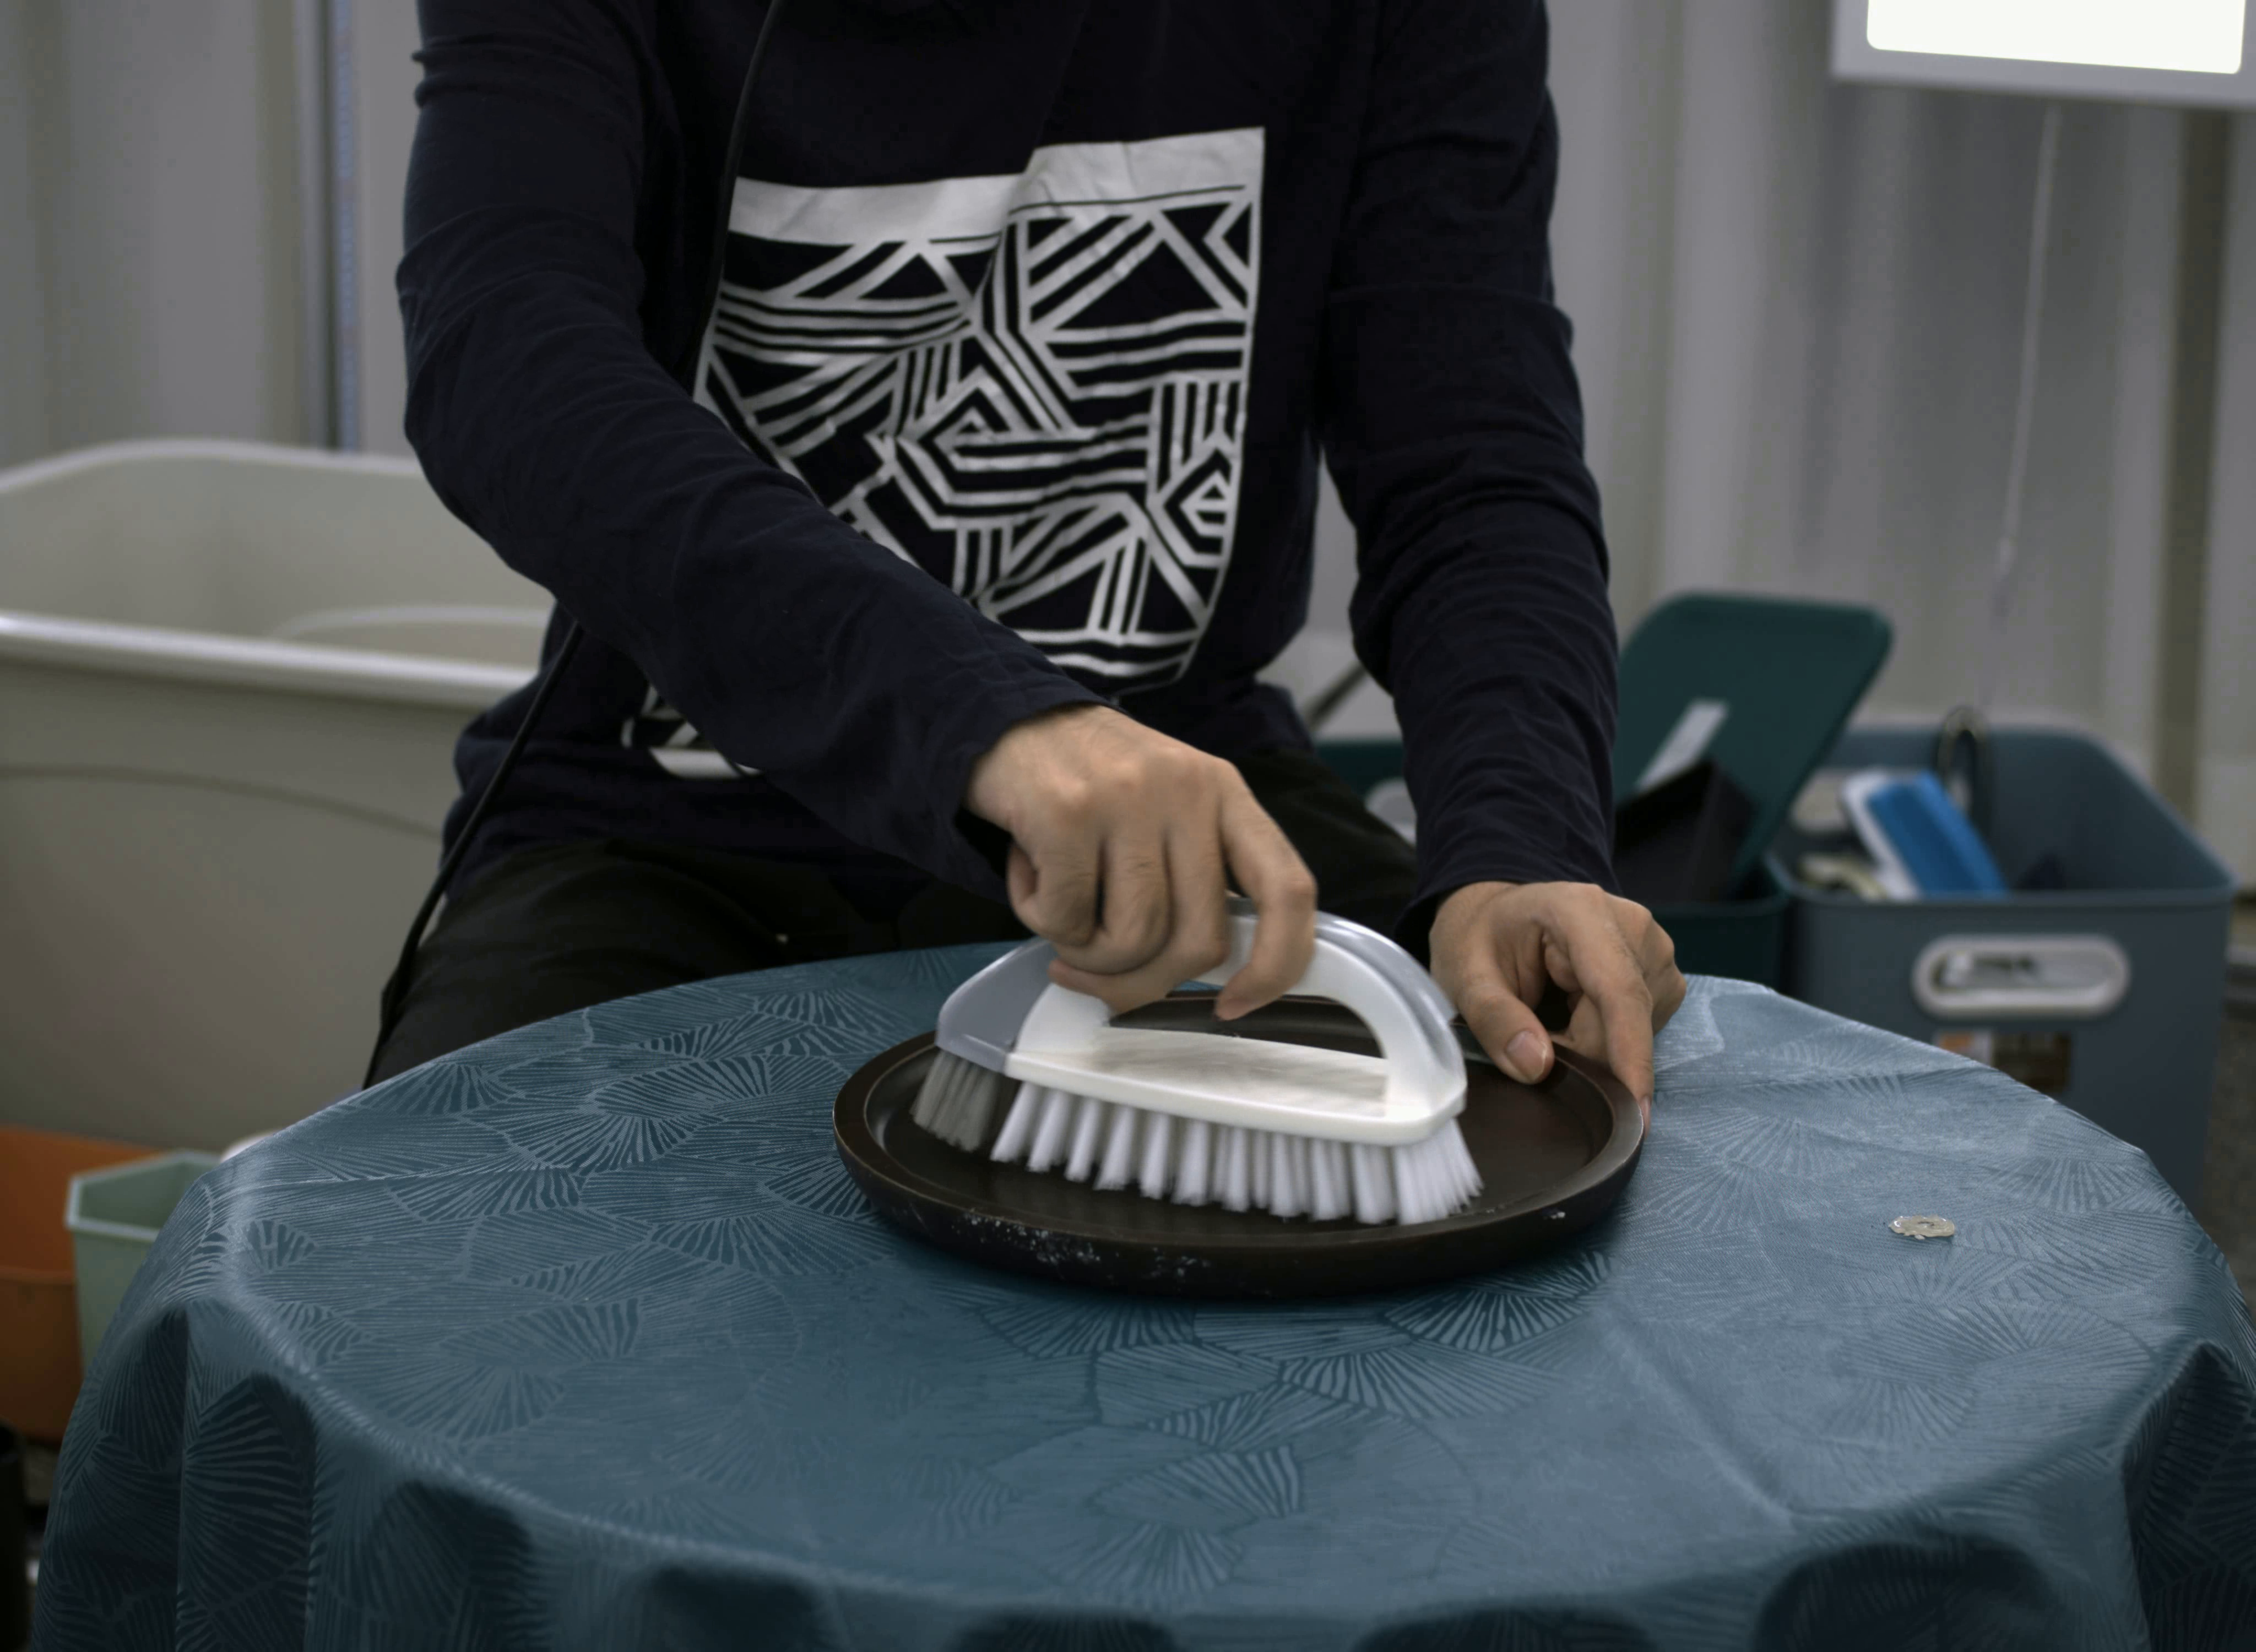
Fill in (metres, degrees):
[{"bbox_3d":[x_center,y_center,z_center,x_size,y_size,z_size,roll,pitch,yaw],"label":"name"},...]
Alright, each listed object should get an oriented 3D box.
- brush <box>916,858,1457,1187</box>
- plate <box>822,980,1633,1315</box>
[{"bbox_3d":[0.013,0.055,1.582,0.173,0.095,0.061,7,18,25],"label":"brush"},{"bbox_3d":[0.031,0.100,1.639,0.254,0.029,0.253,1,16,0],"label":"plate"}]
